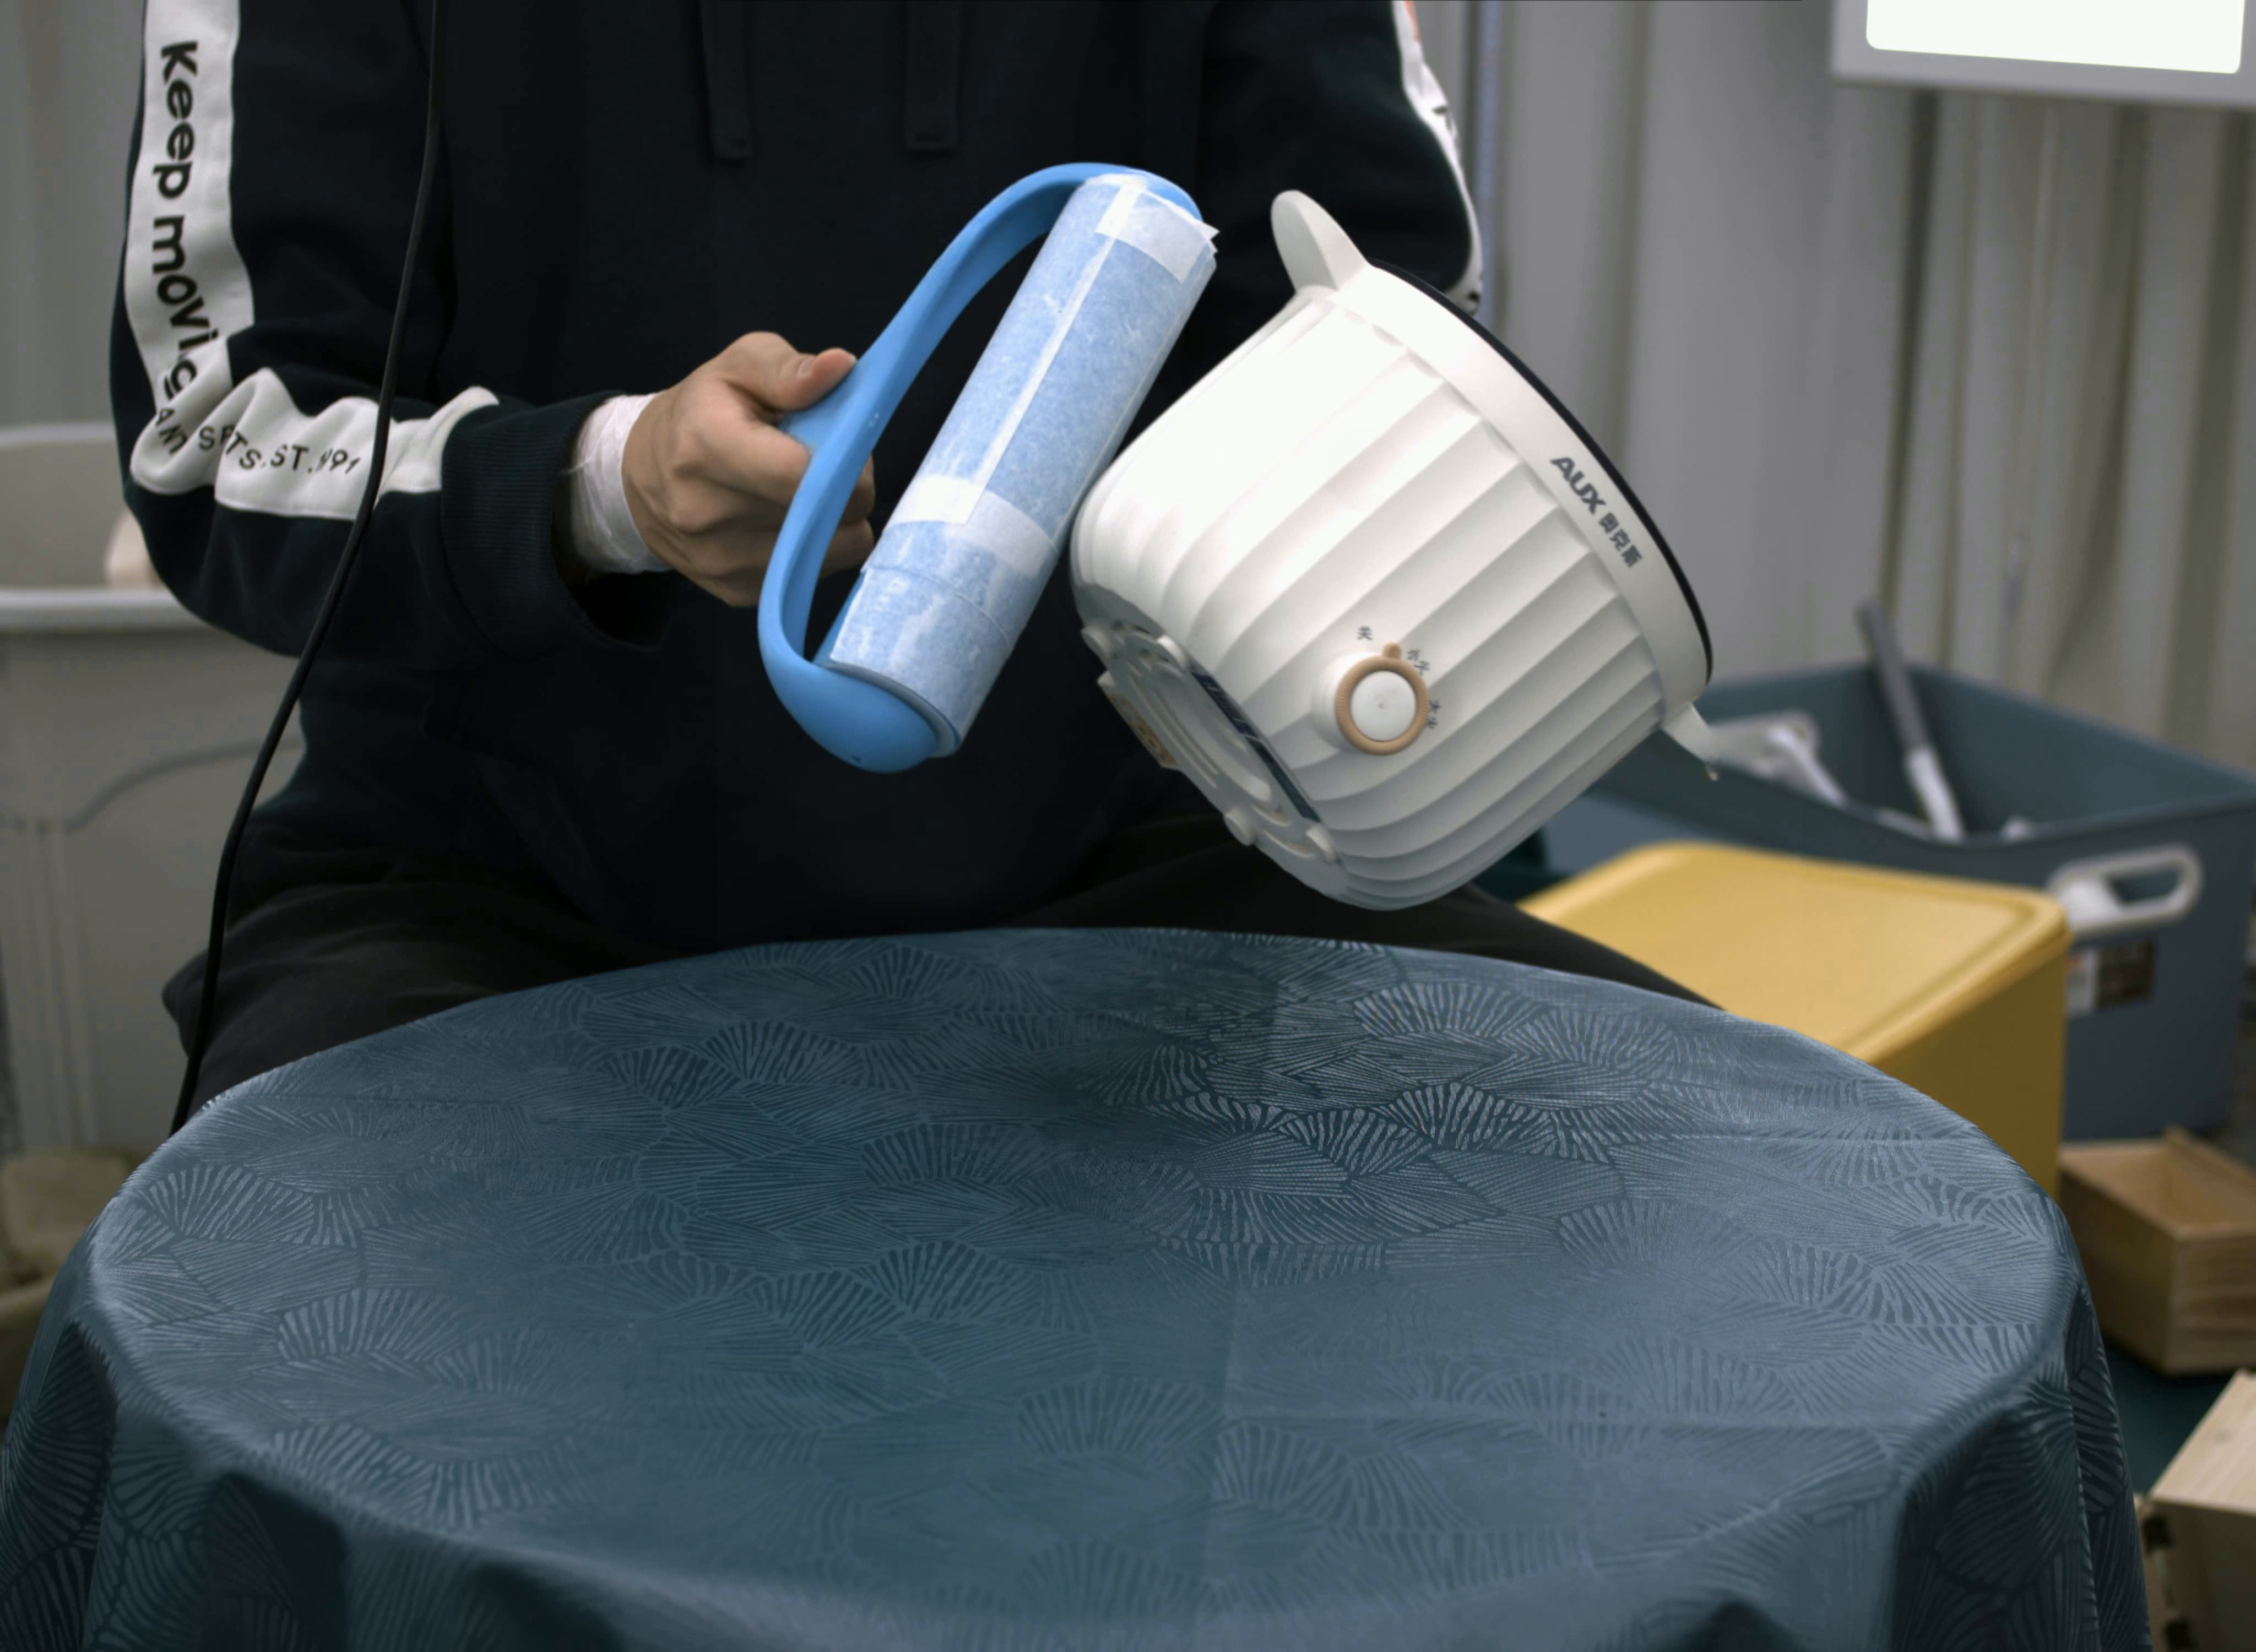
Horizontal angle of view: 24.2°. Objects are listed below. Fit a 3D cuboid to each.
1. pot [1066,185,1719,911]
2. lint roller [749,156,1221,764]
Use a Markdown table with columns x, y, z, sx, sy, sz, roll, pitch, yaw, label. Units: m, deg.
| x | y | z | sx | sy | sz | roll | pitch | yaw | label |
| --- | --- | --- | --- | --- | --- | --- | --- | --- | --- |
| 0.077 | -0.067 | 1.667 | 0.142 | 0.242 | 0.189 | -43 | 17 | -14 | pot |
| -0.077 | -0.117 | 1.713 | 0.178 | 0.069 | 0.228 | -1 | 56 | 44 | lint roller |
